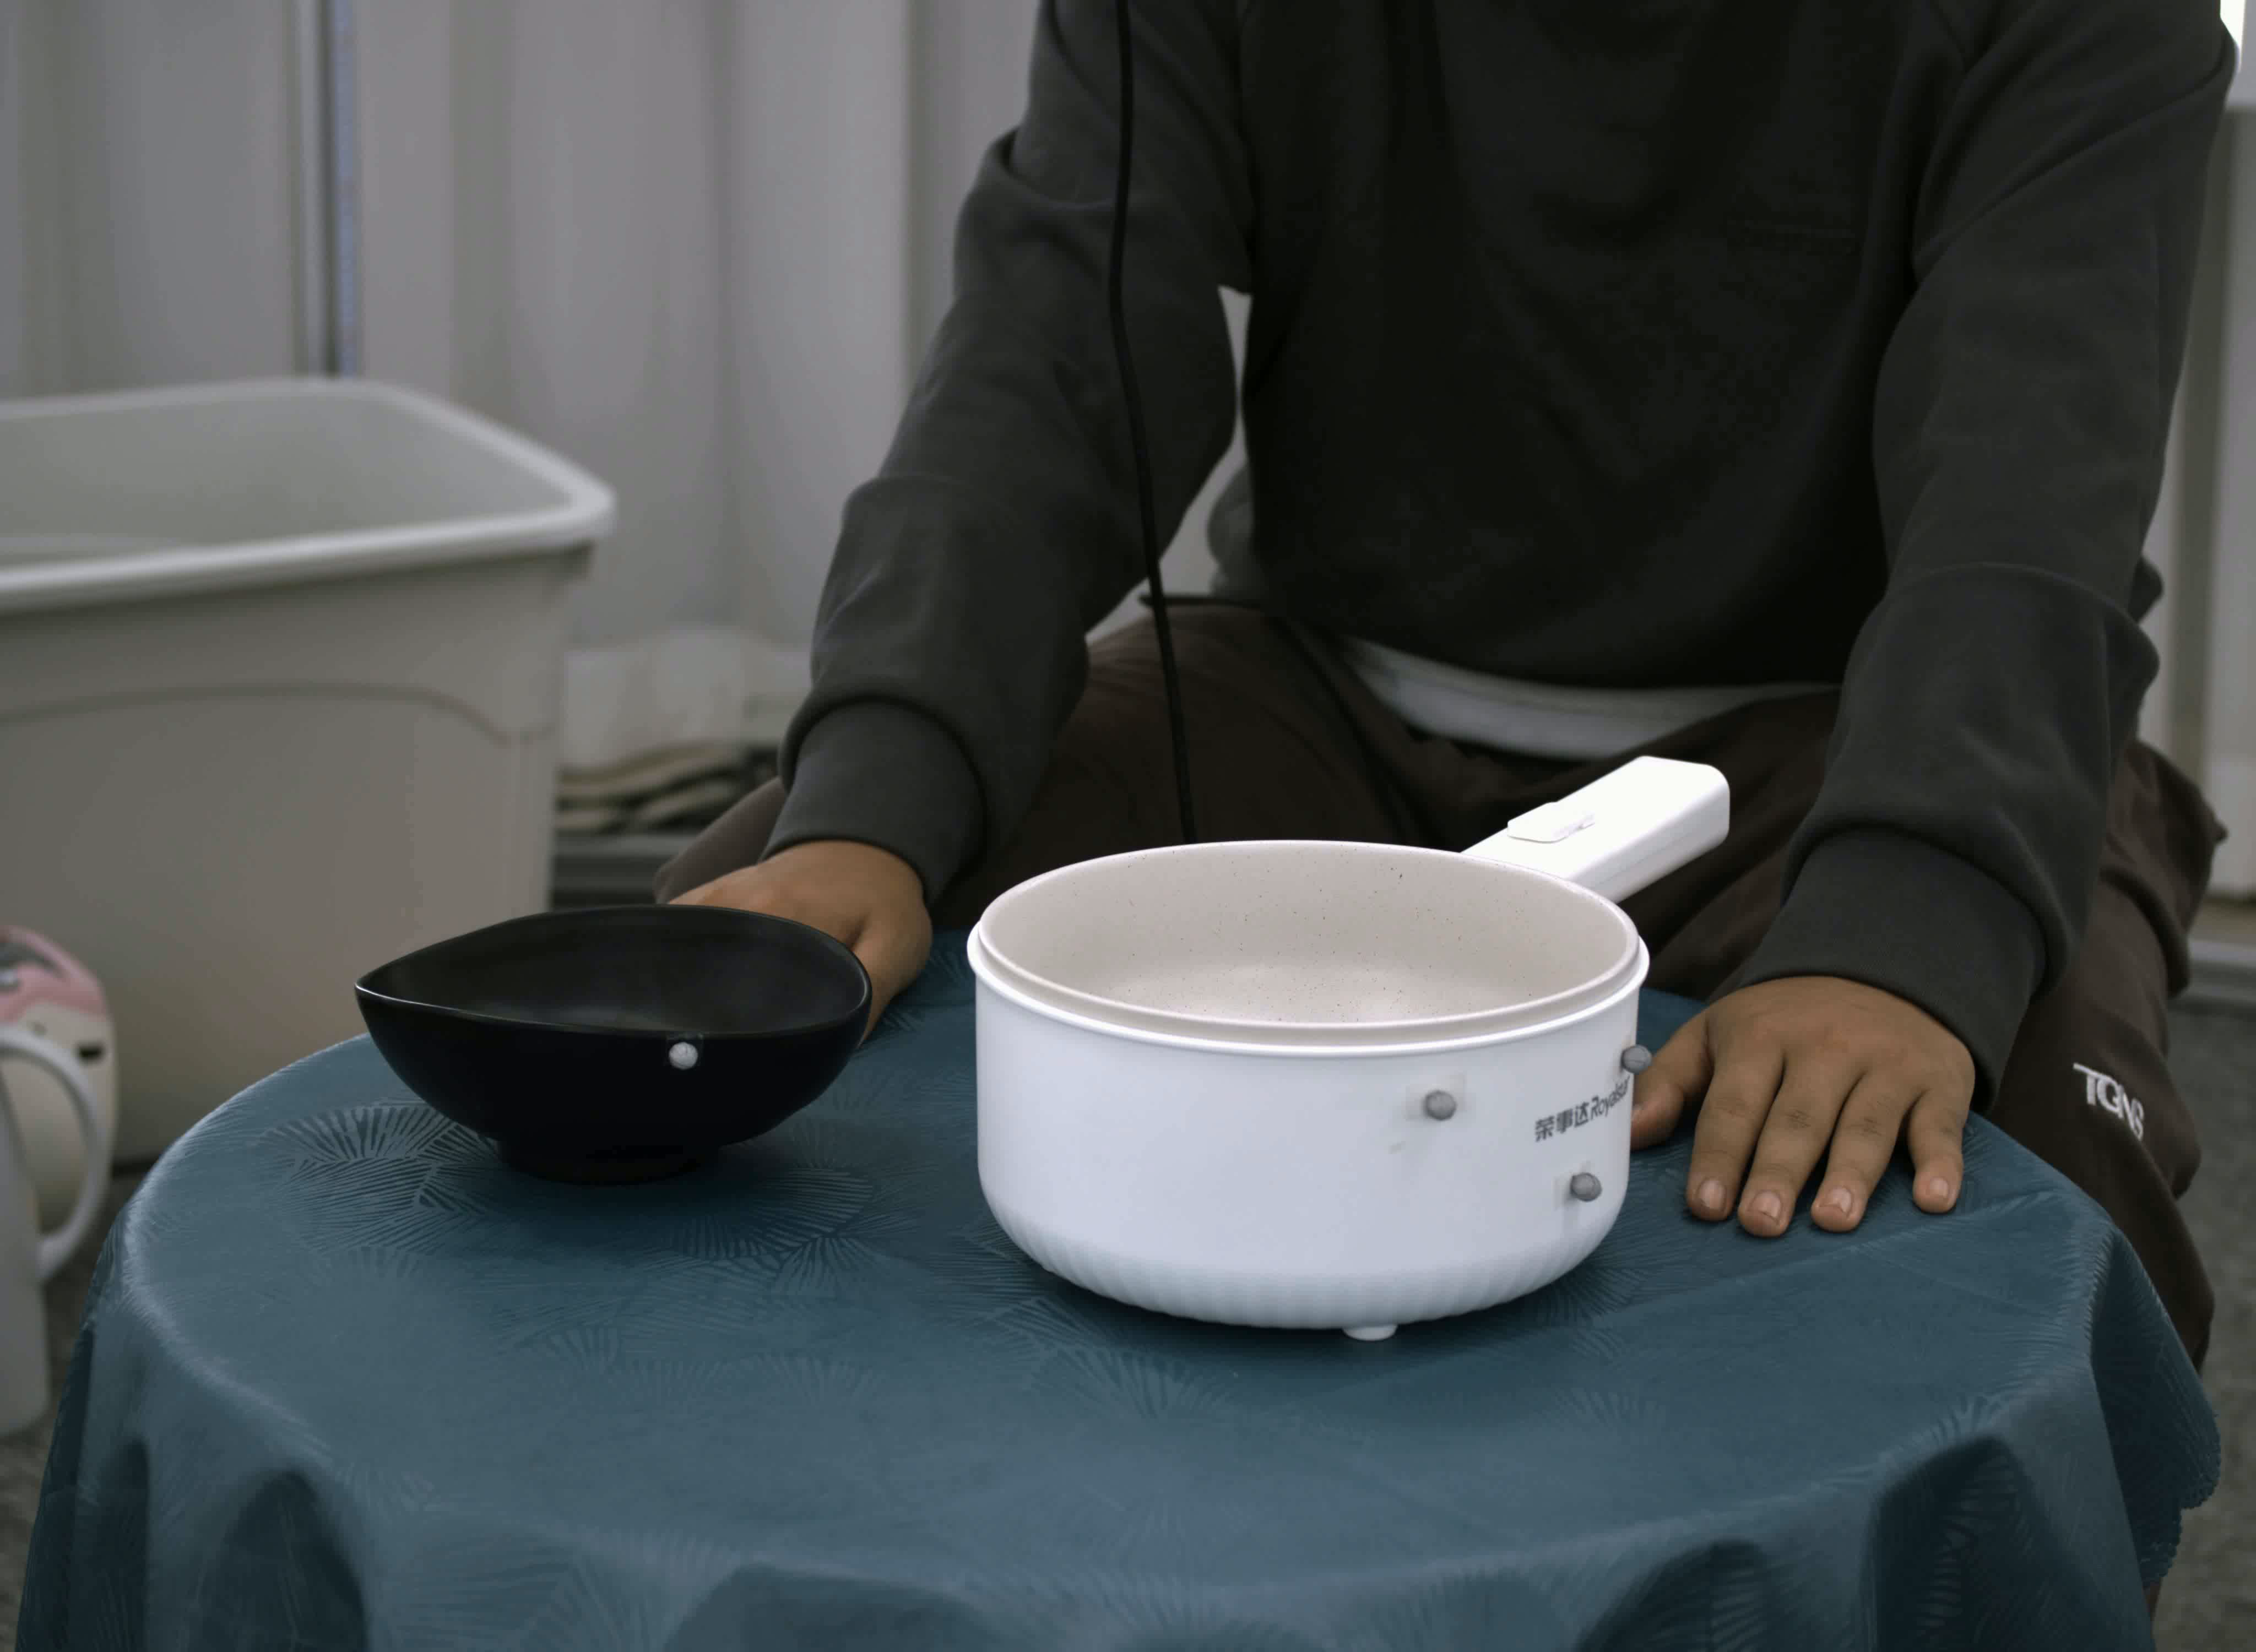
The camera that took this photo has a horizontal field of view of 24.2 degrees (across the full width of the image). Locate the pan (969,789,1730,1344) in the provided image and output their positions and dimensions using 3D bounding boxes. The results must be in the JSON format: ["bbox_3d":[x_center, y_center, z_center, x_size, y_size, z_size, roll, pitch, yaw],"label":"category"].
[{"bbox_3d":[0.092,0.067,1.629,0.199,0.103,0.356,7,15,30],"label":"pan"}]

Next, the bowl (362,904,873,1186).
[{"bbox_3d":[-0.160,0.072,1.643,0.168,0.067,0.137,6,16,23],"label":"bowl"}]
